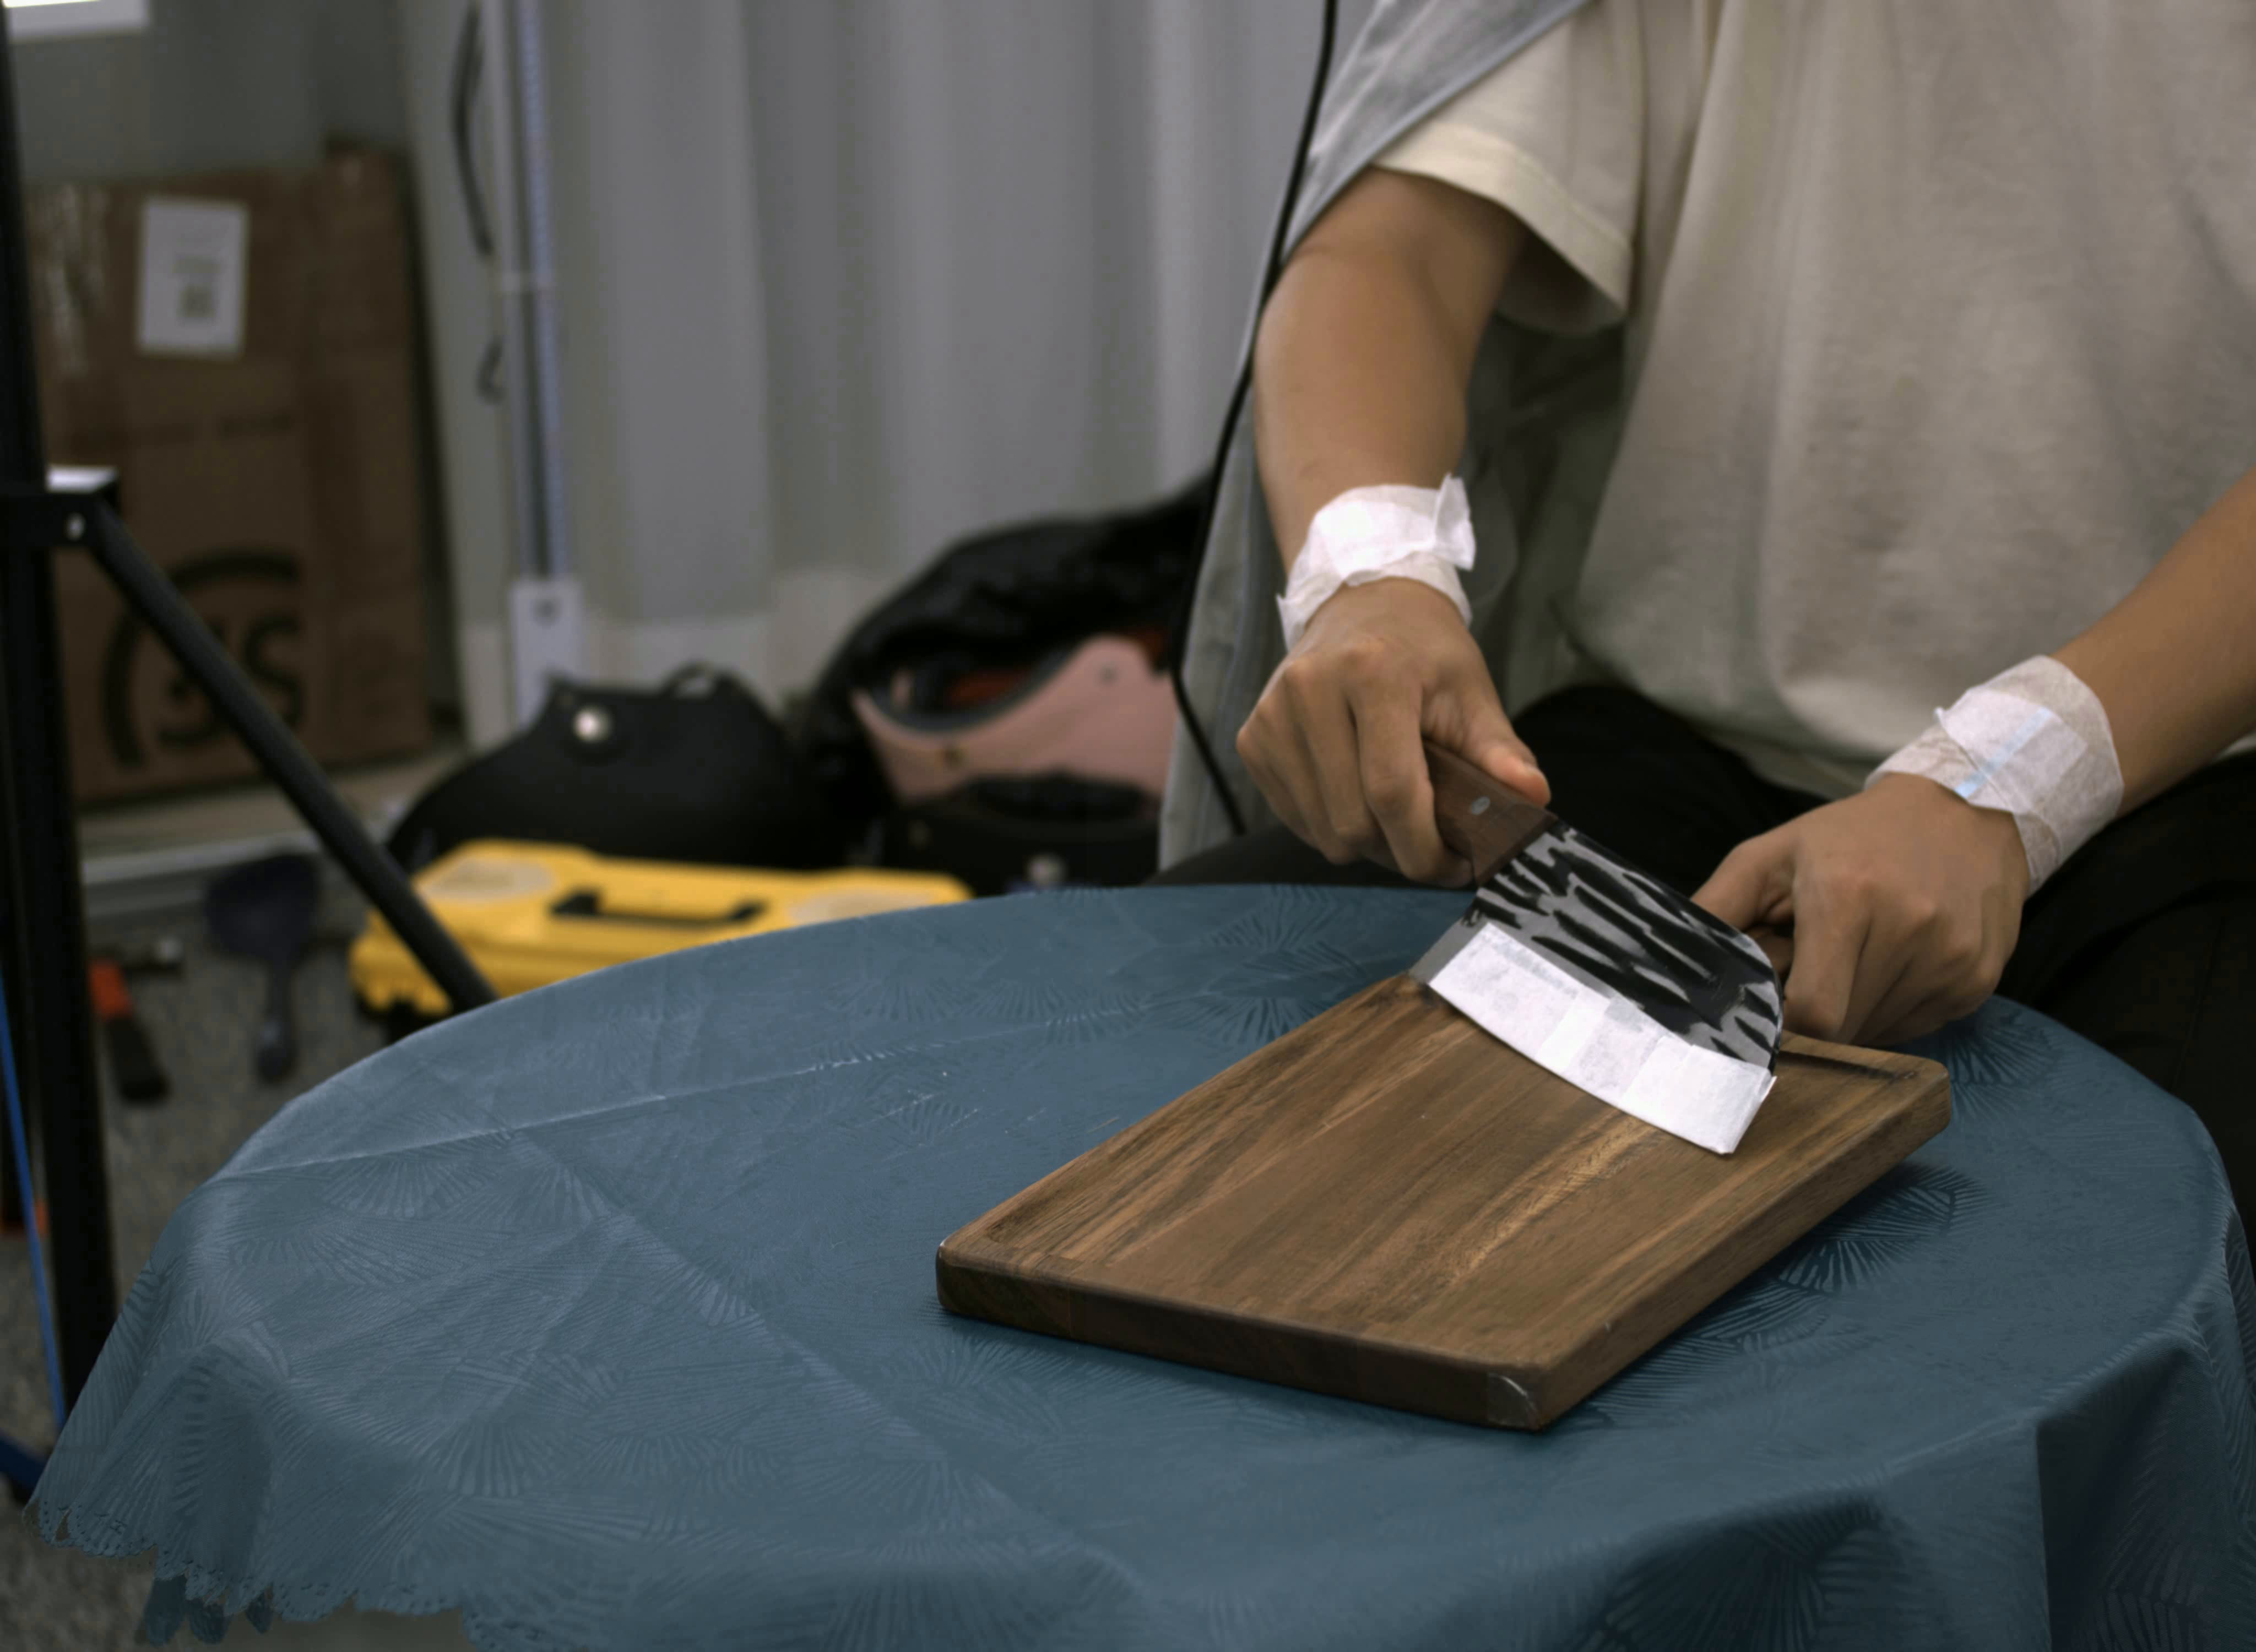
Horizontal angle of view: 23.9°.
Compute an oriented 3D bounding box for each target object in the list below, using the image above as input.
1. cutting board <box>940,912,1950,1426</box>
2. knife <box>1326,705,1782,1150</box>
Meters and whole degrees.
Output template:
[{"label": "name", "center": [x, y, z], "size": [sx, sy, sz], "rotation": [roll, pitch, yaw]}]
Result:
[{"label": "cutting board", "center": [0.121, 0.087, 1.541], "size": [0.205, 0.023, 0.345], "rotation": [8, 21, 34]}, {"label": "knife", "center": [0.122, 0.029, 1.623], "size": [0.068, 0.023, 0.305], "rotation": [-47, 31, -4]}]
